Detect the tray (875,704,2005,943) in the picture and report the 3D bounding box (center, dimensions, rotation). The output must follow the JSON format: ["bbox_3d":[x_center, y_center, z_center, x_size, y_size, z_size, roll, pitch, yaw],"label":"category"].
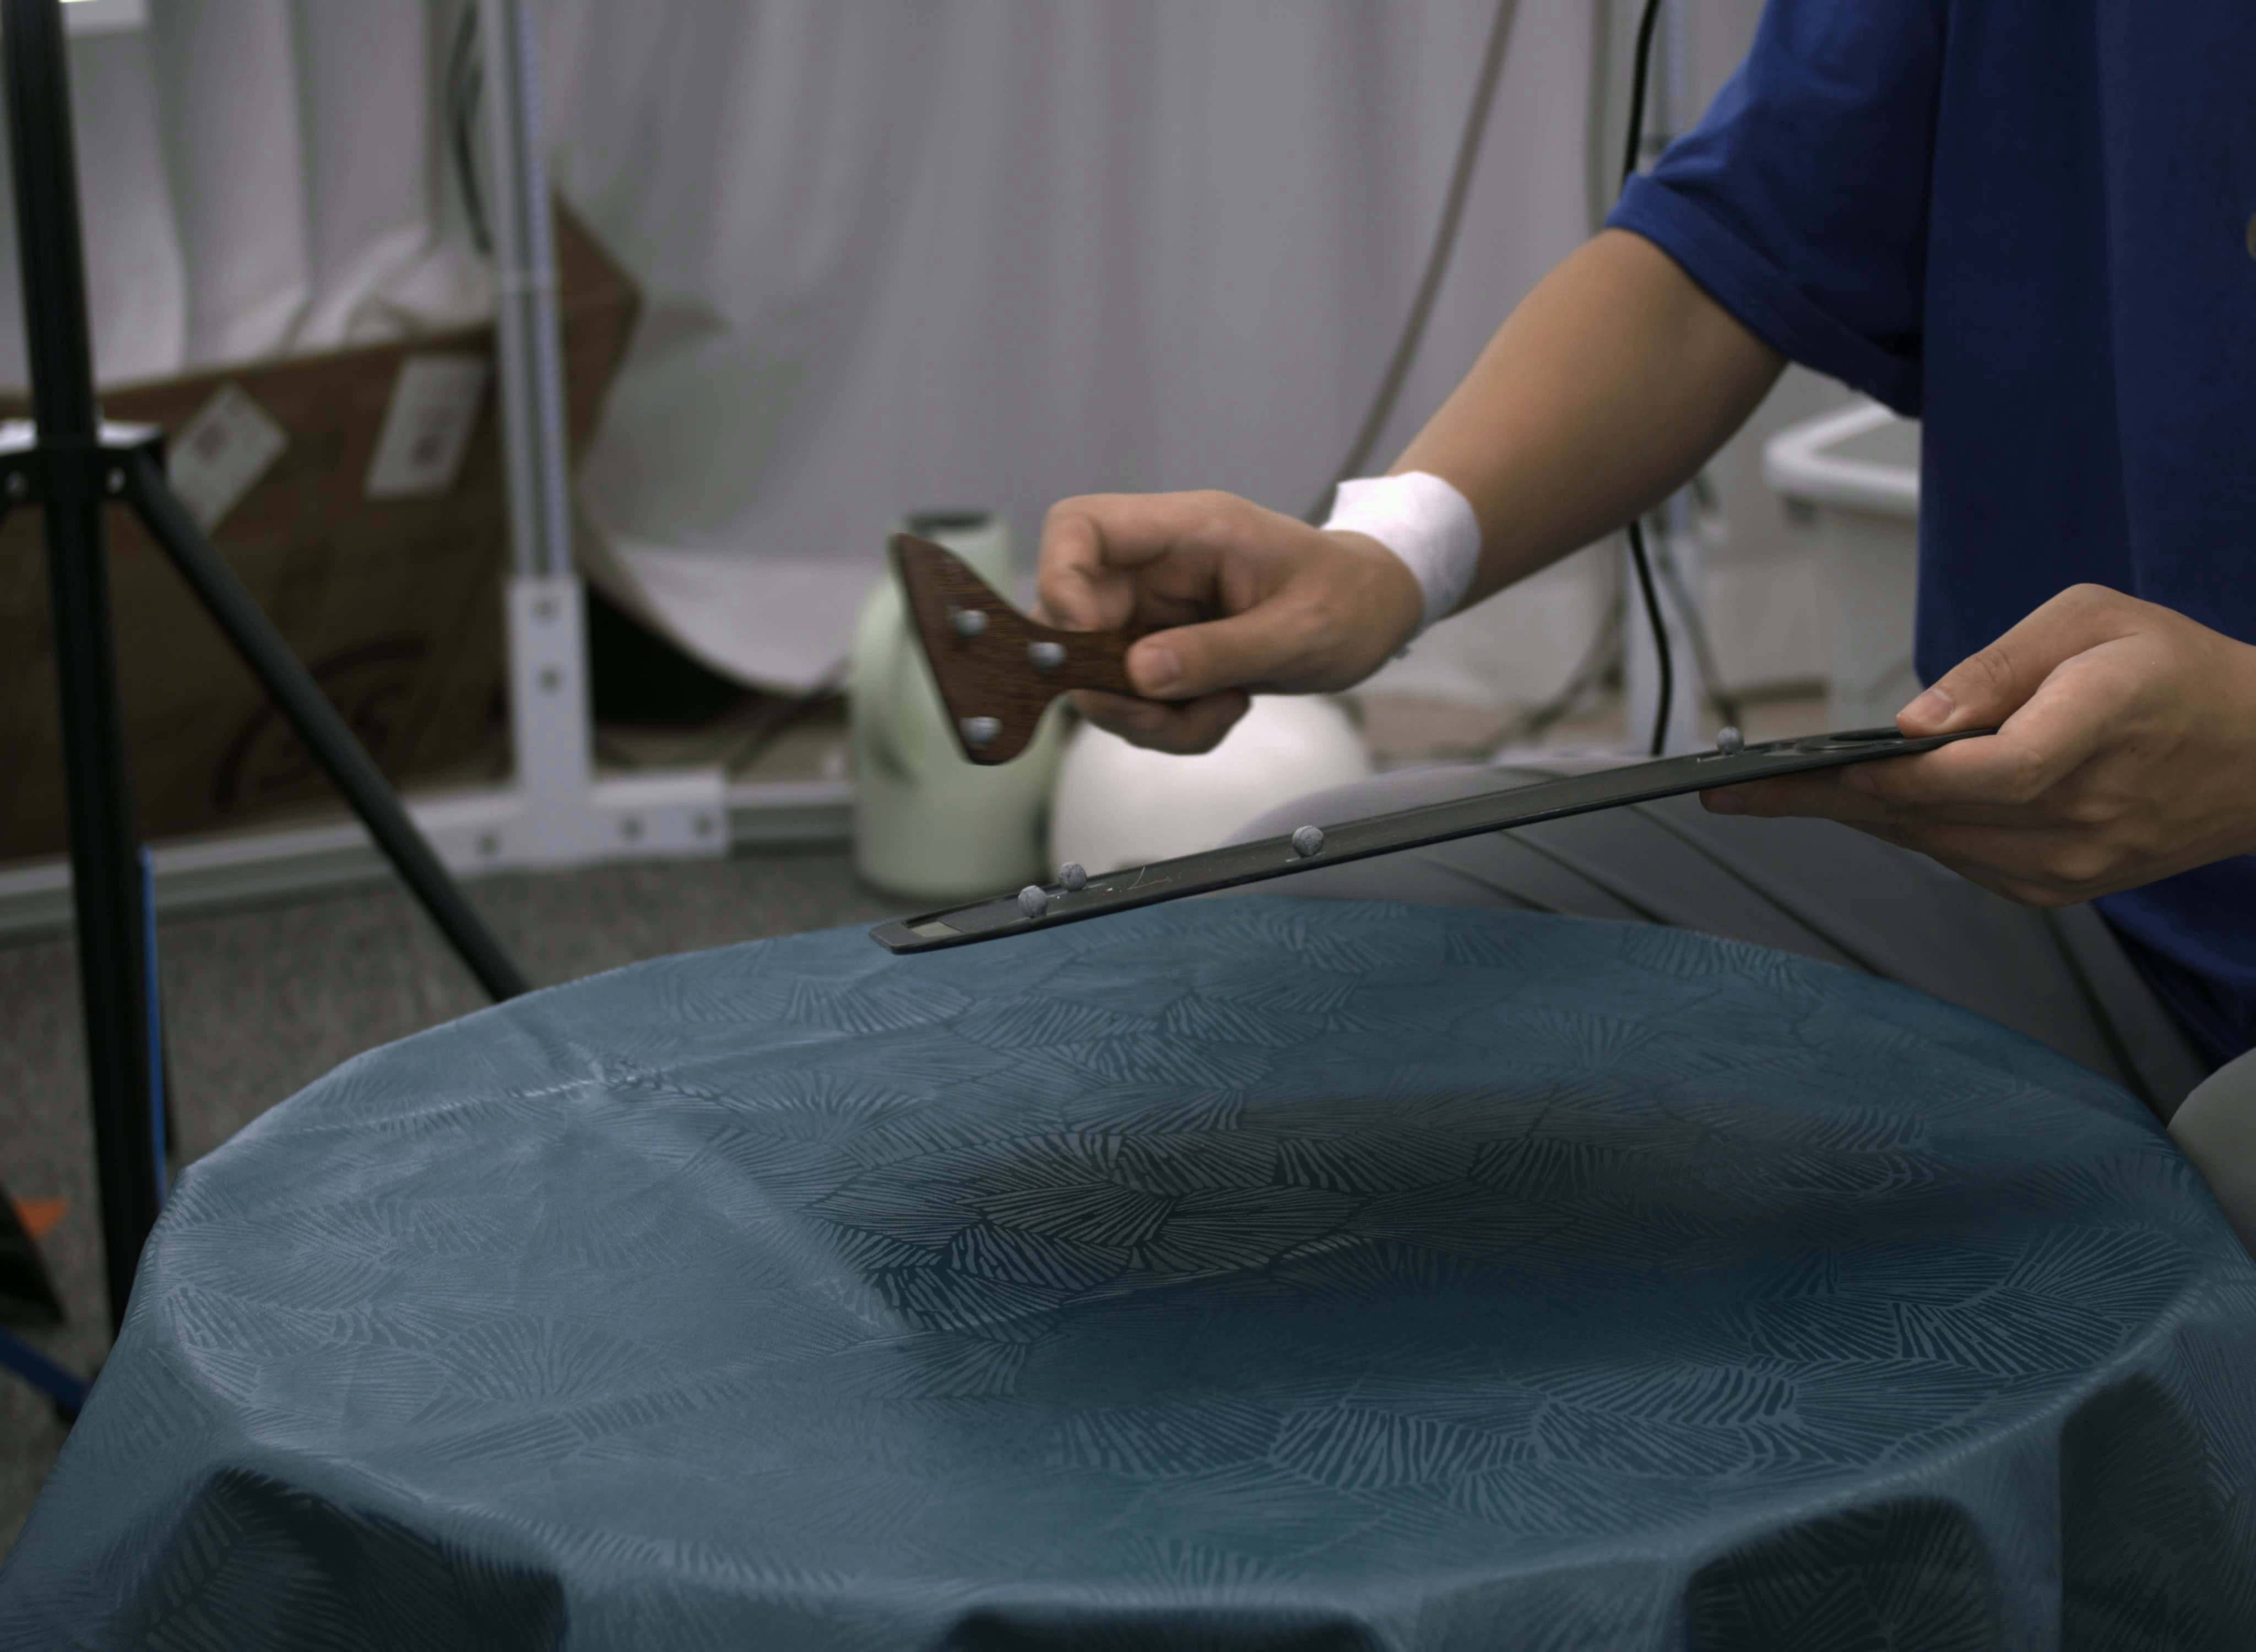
[{"bbox_3d":[0.088,-0.003,1.518,0.323,0.010,0.211,-11,2,-3],"label":"tray"}]

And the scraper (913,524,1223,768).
[{"bbox_3d":[-0.015,-0.052,1.656,0.011,0.076,0.207,-23,-10,22],"label":"scraper"}]
